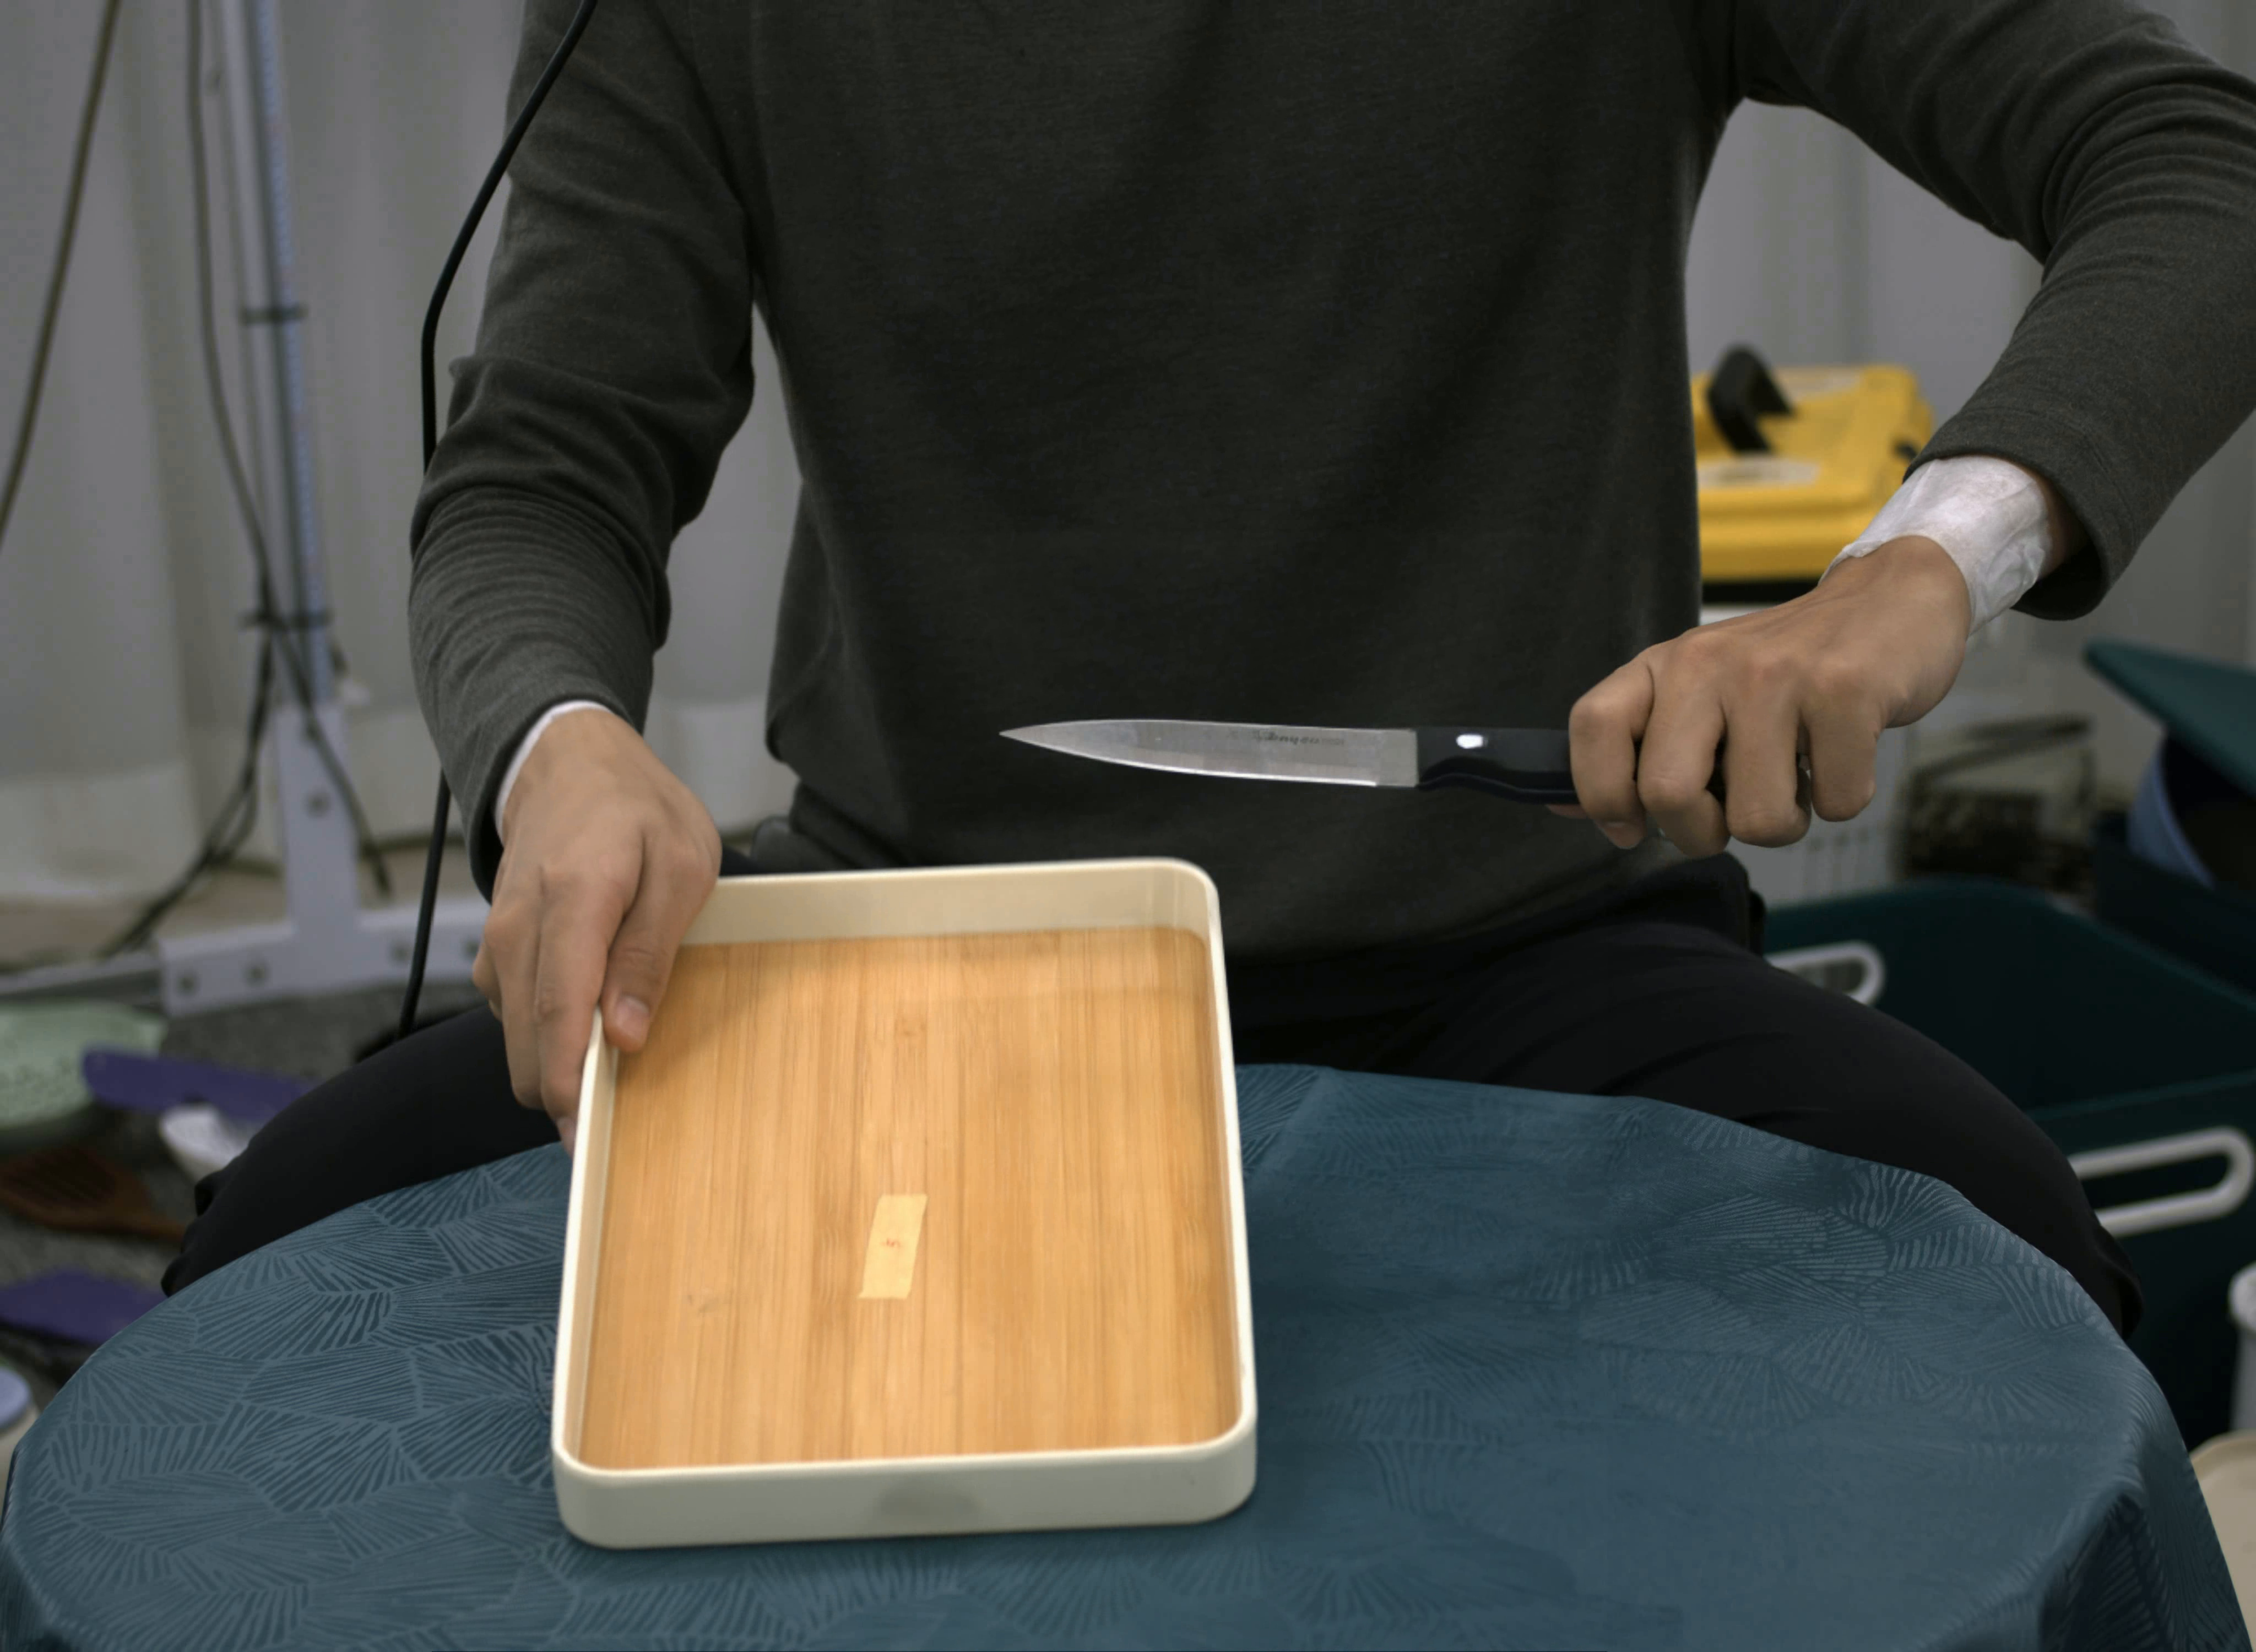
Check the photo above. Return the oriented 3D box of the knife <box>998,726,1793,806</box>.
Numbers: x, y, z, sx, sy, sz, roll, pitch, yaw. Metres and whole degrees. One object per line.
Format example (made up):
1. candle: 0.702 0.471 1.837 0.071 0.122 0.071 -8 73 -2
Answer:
1. knife: 0.080 -0.020 1.636 0.237 0.016 0.025 2 44 1

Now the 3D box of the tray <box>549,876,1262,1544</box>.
1. tray: -0.062 0.104 1.568 0.191 0.027 0.304 -1 30 0
